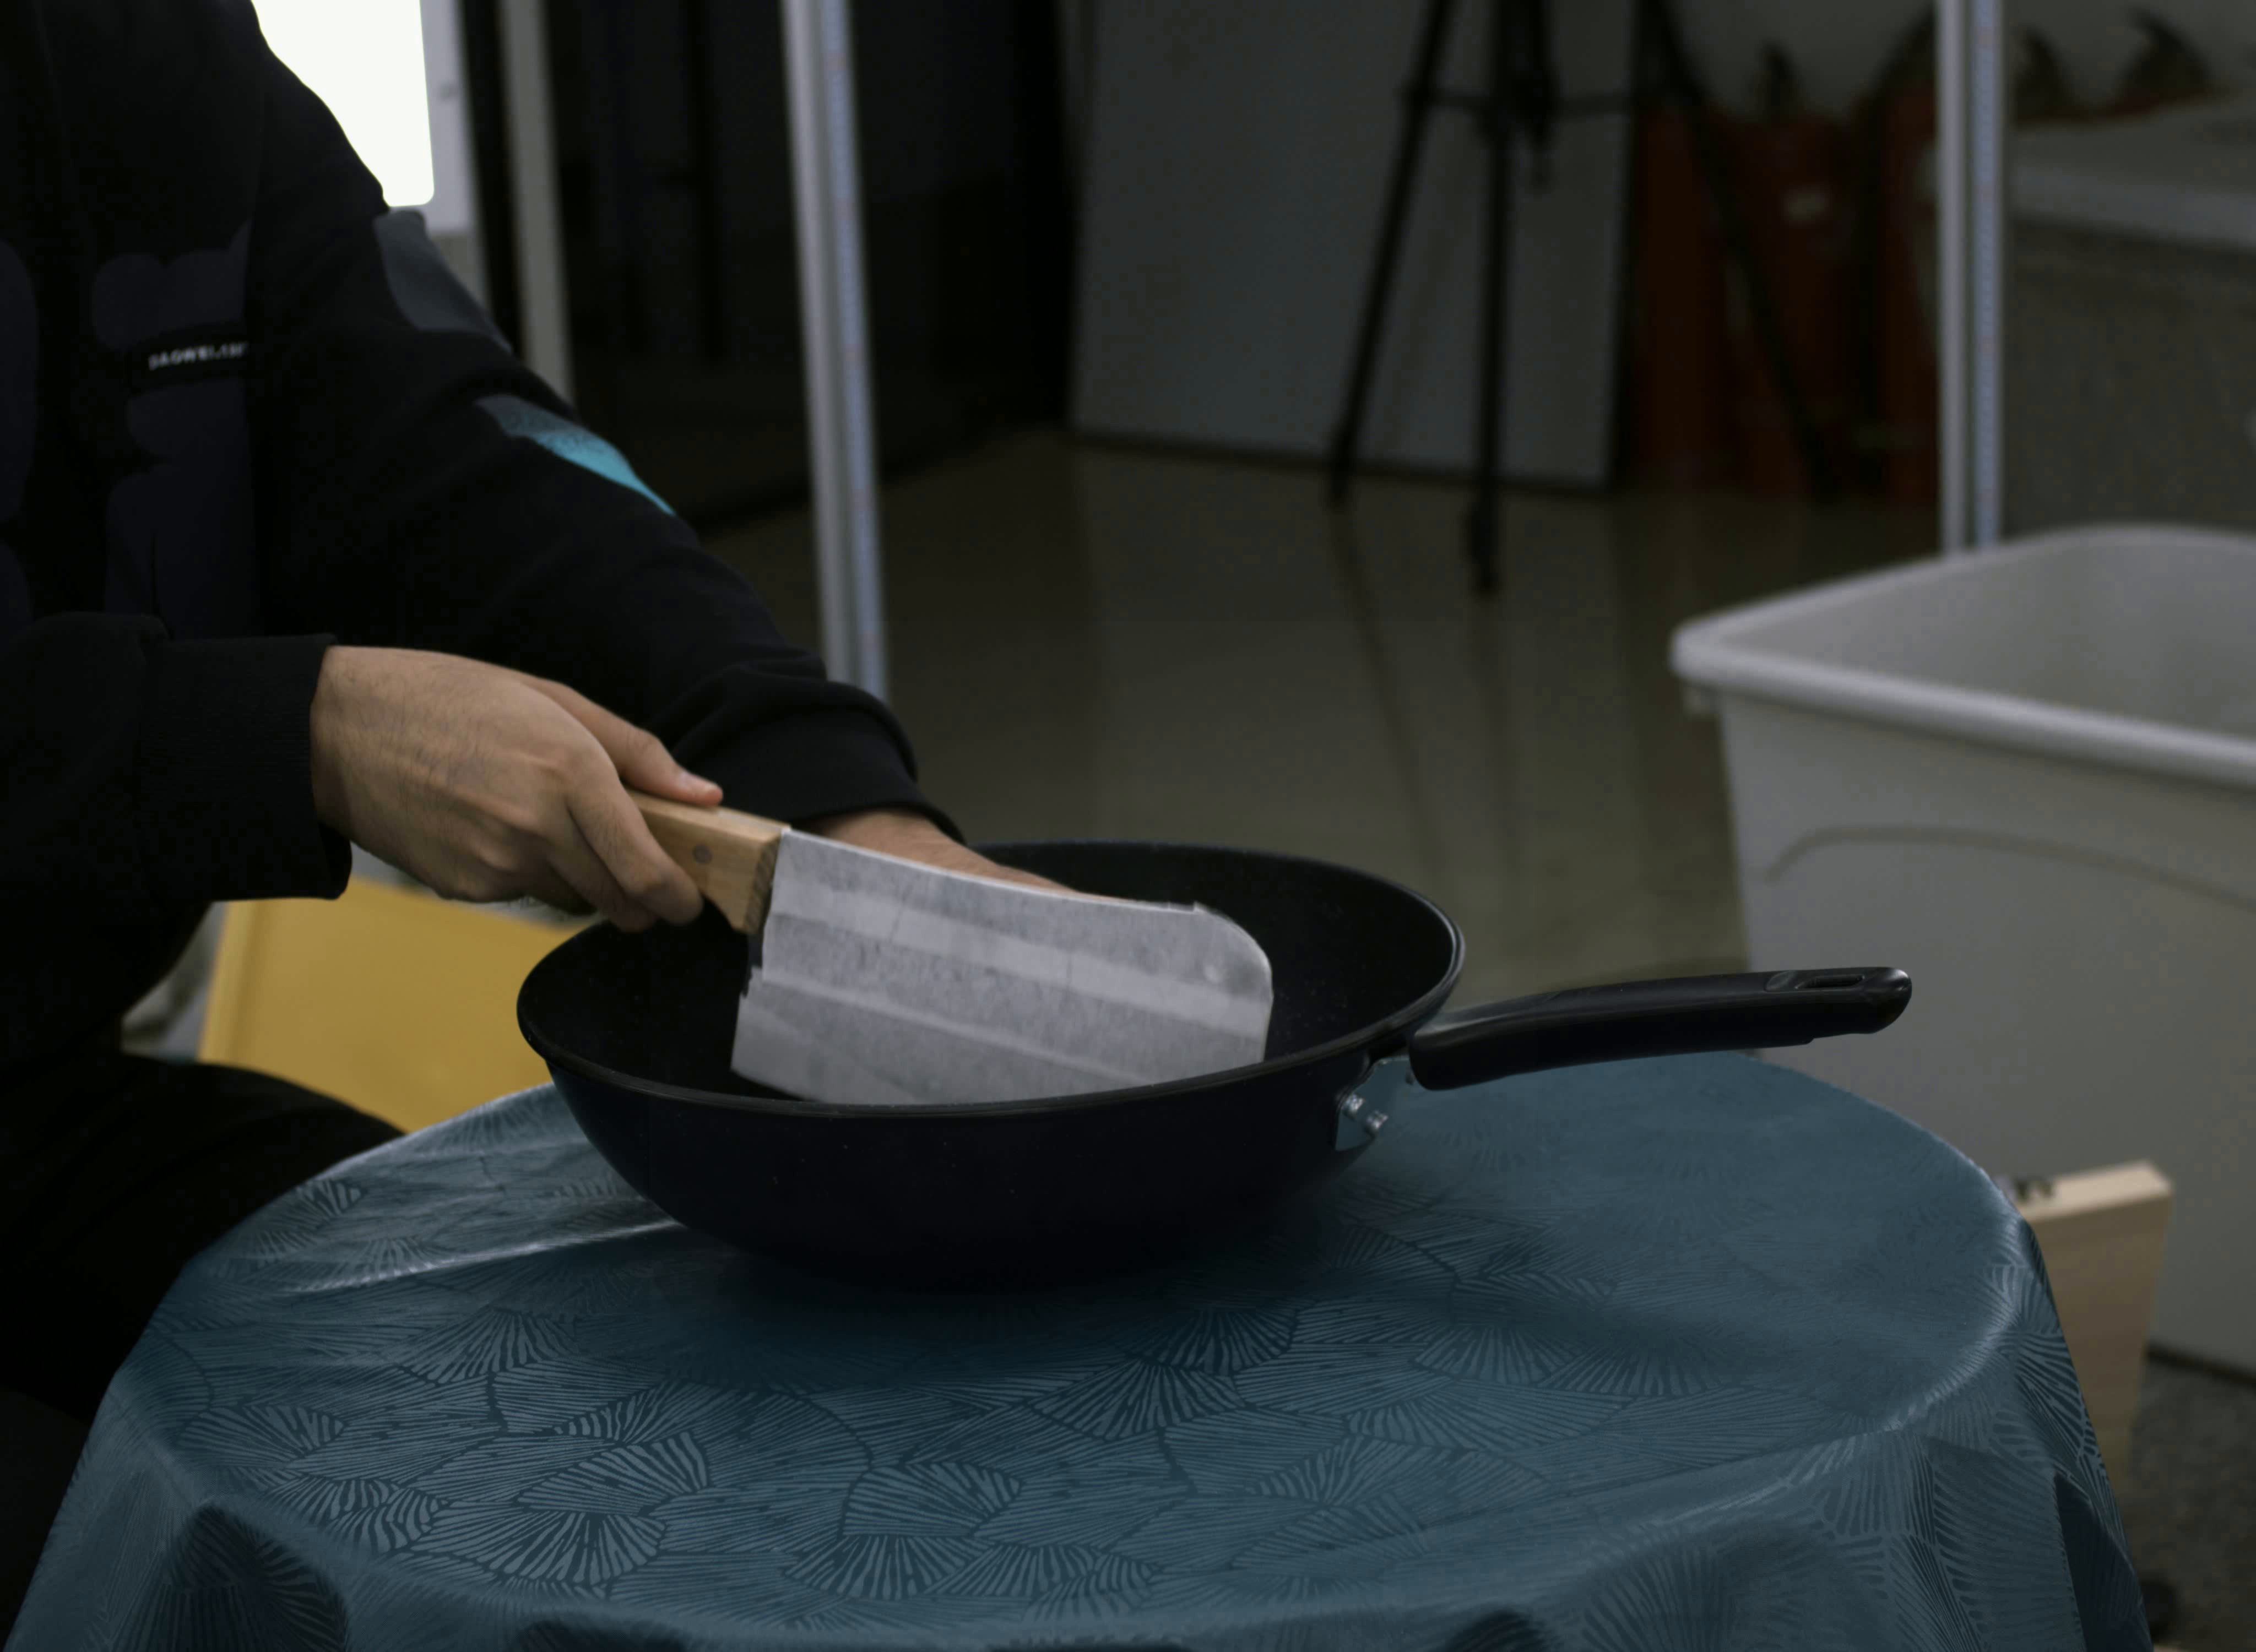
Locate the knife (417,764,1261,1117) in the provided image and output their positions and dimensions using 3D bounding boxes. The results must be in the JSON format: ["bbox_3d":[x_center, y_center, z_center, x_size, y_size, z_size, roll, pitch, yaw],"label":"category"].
[{"bbox_3d":[-0.093,0.036,1.735,0.316,0.115,0.021,18,17,22],"label":"knife"}]

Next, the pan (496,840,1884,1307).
[{"bbox_3d":[0.022,0.081,1.704,0.479,0.113,0.305,4,18,32],"label":"pan"}]
